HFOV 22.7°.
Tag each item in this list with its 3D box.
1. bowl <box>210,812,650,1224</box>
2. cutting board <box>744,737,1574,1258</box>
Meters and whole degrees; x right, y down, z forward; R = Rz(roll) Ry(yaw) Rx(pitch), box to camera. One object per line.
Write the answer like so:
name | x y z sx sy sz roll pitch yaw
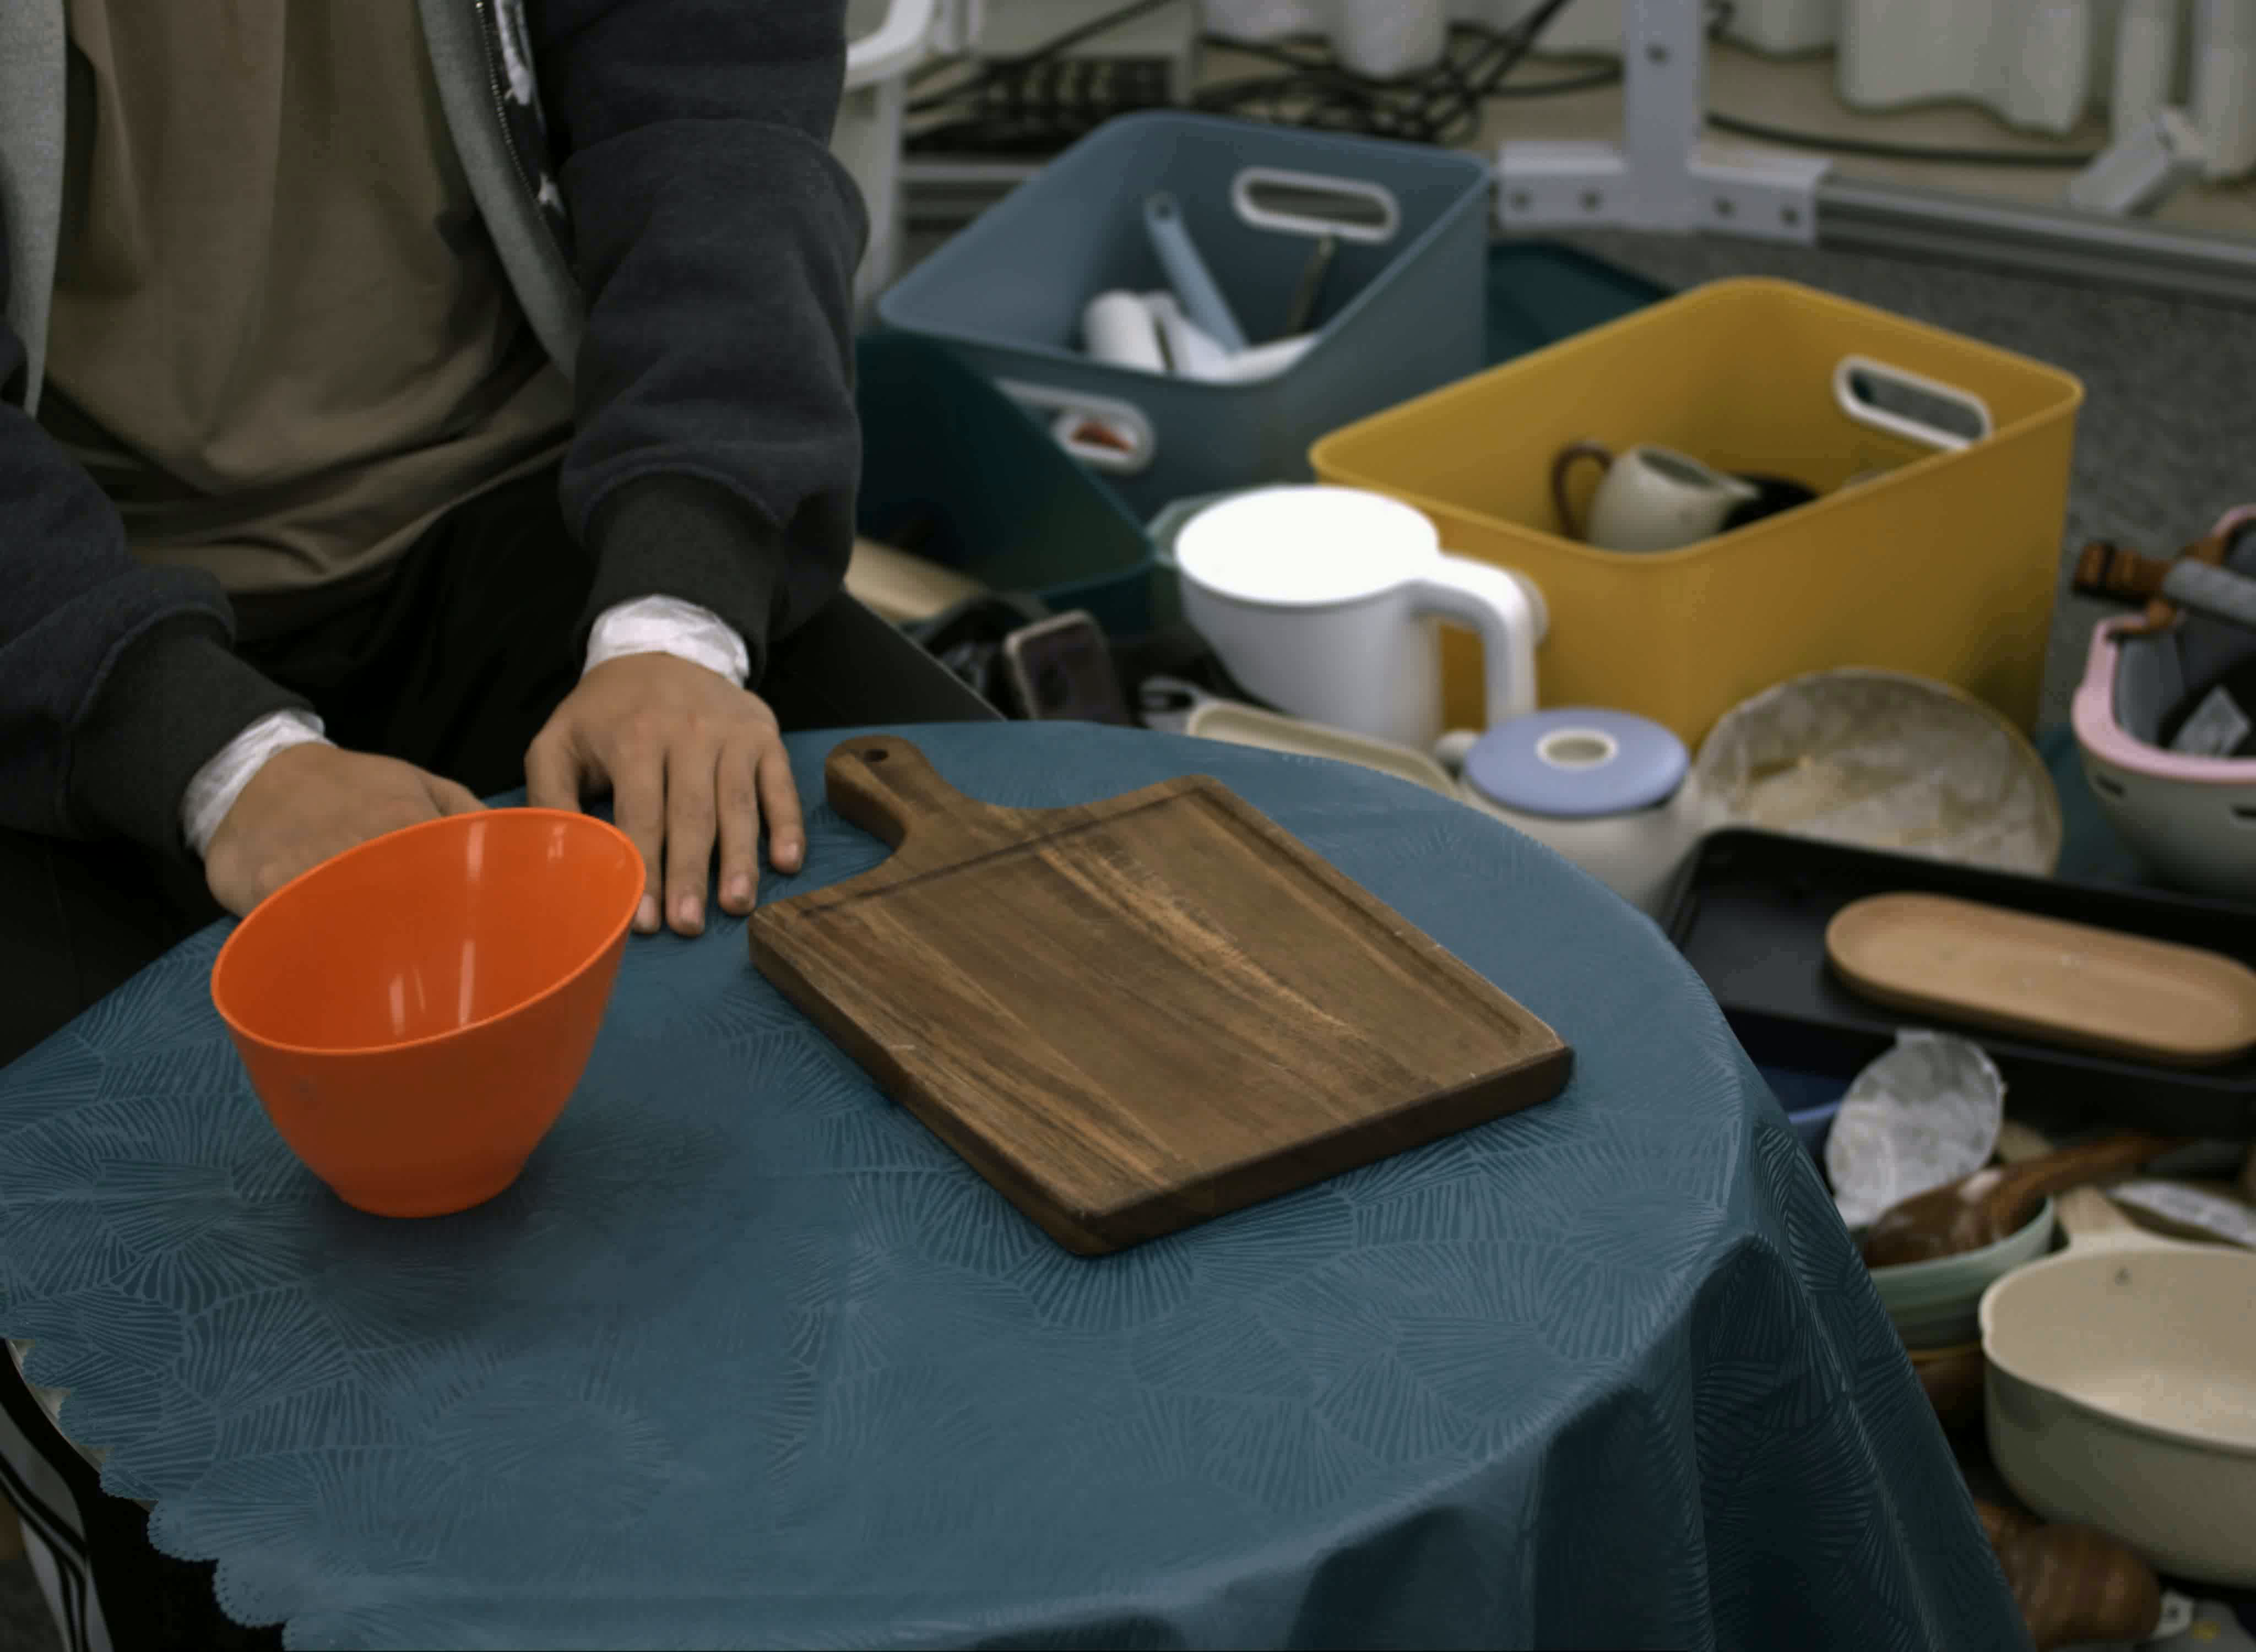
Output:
bowl | -0.229 0.071 1.874 0.147 0.103 0.150 -2 28 1
cutting board | -0.017 0.042 1.996 0.202 0.023 0.353 -17 30 -25
